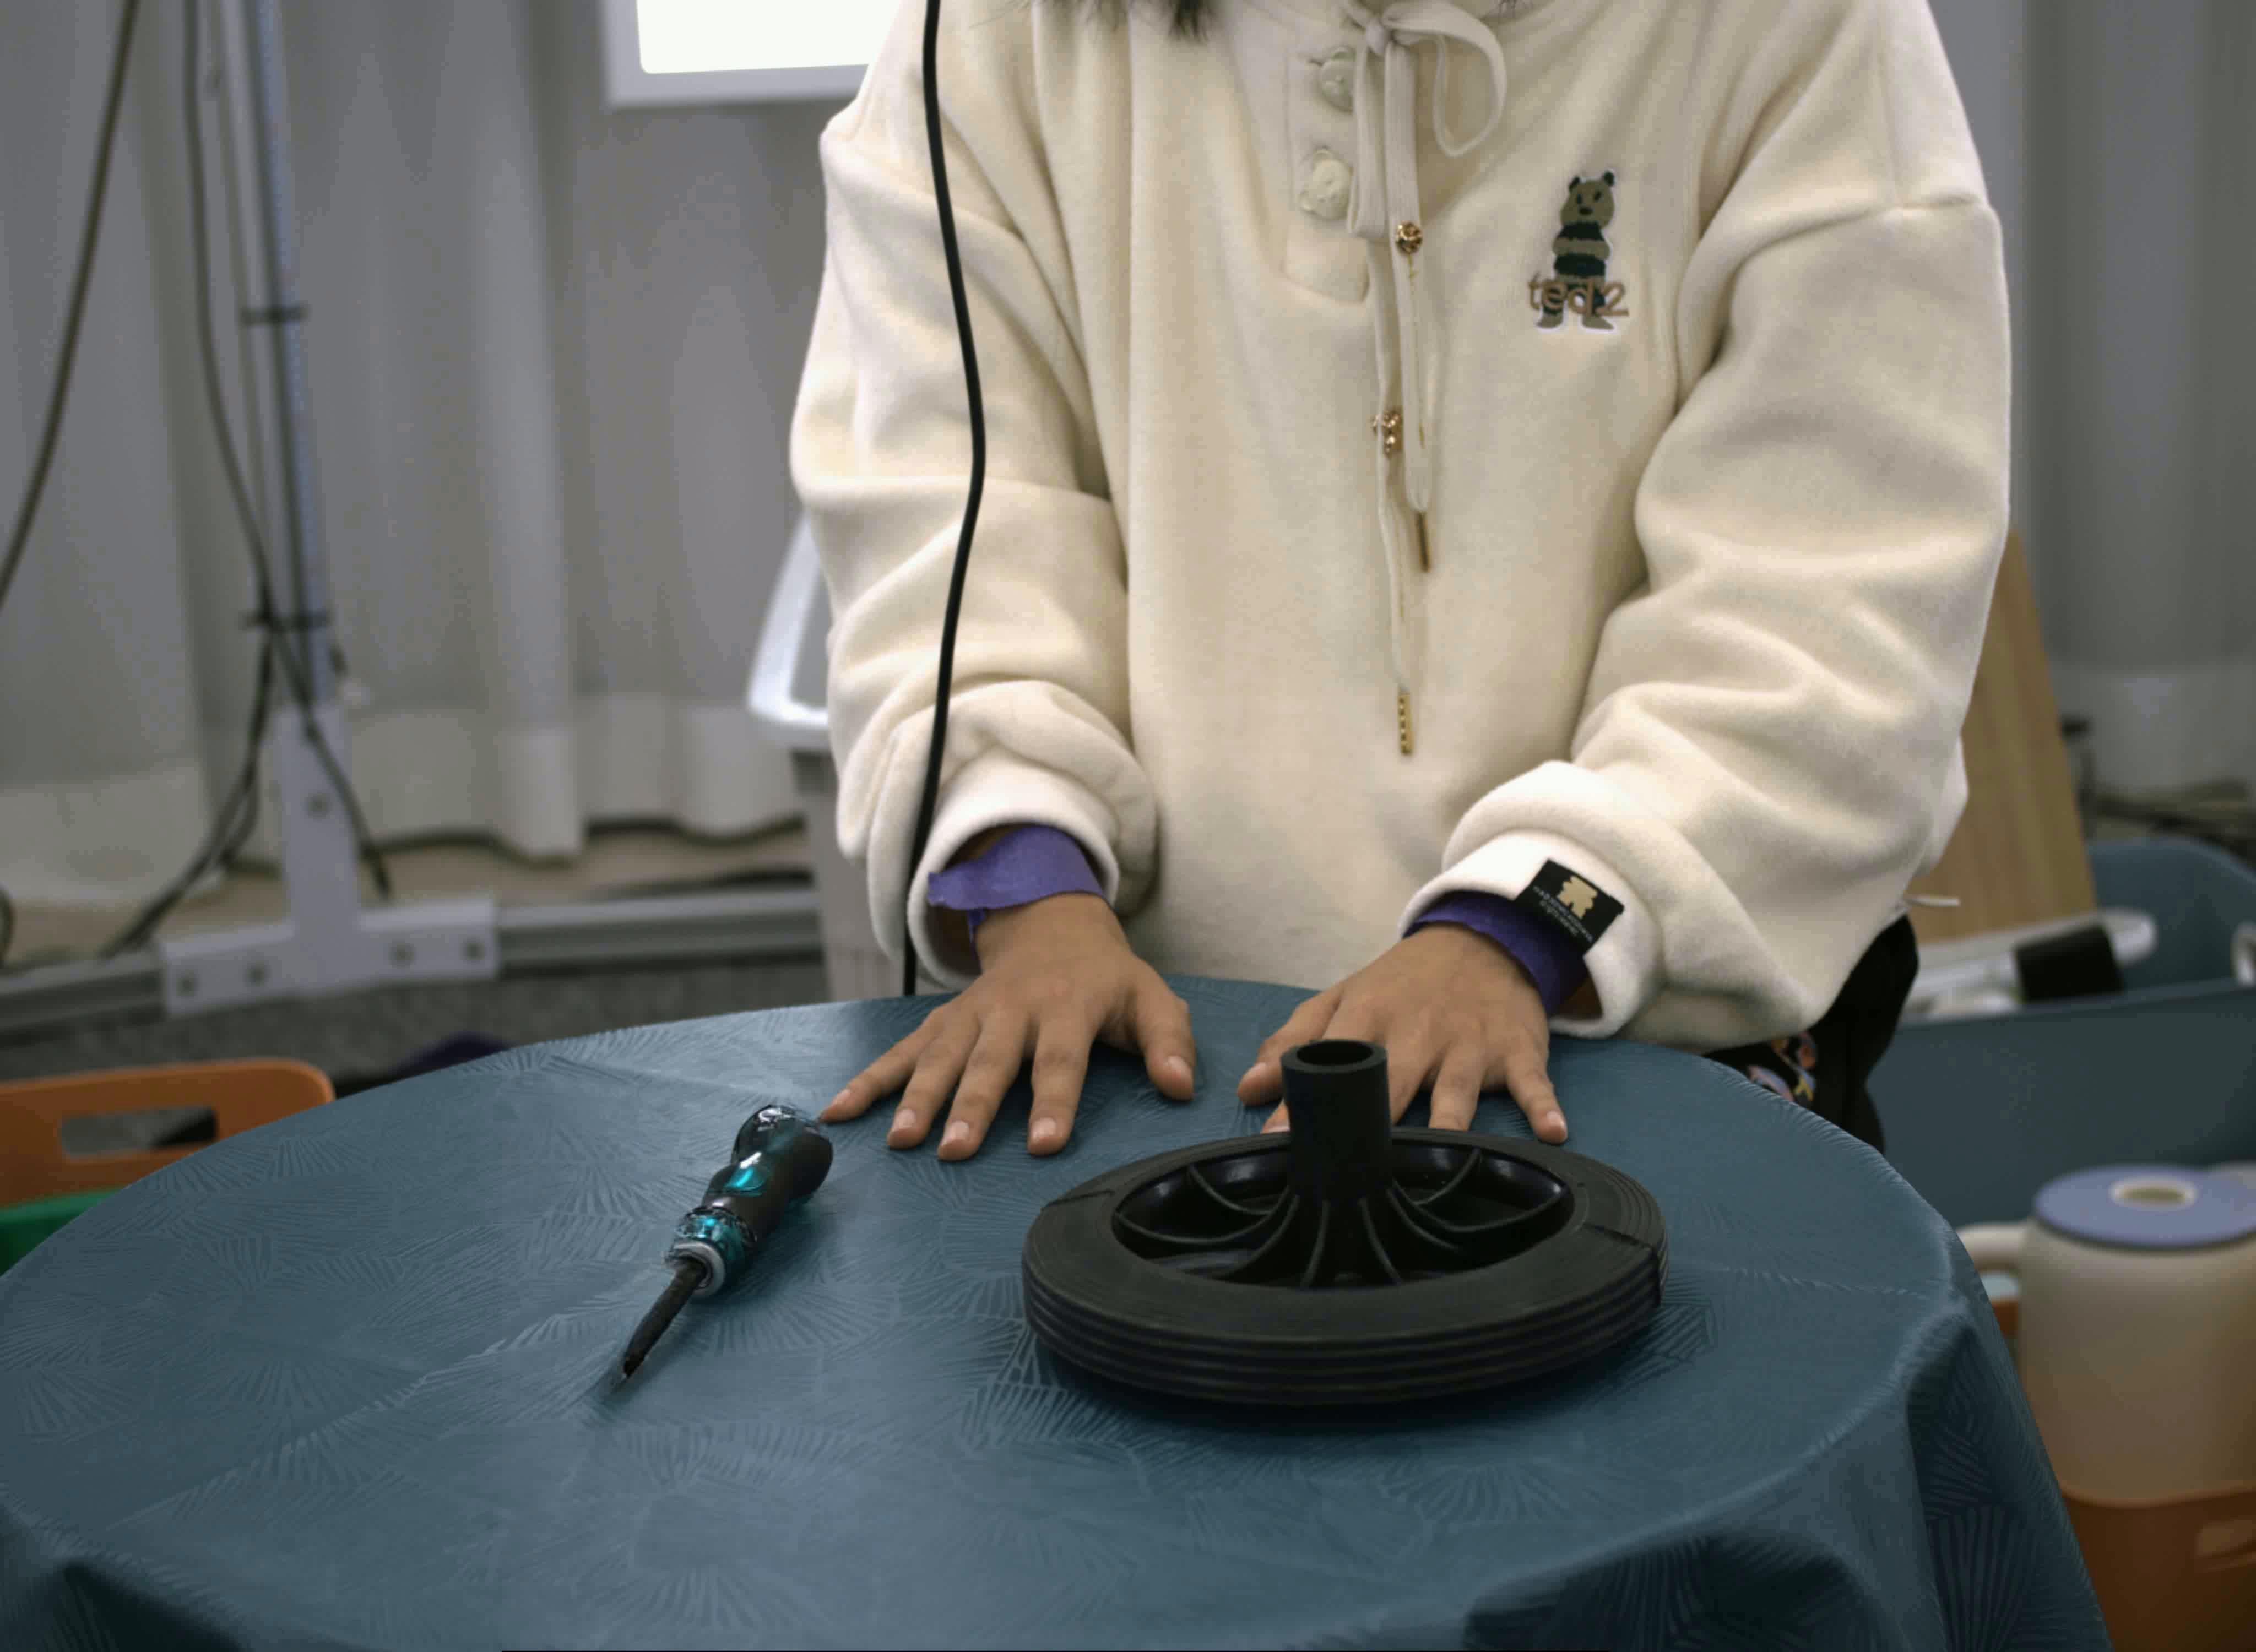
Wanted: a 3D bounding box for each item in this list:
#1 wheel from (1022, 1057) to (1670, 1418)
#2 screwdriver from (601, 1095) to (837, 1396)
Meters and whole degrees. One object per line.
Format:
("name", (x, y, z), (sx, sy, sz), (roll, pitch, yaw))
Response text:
("wheel", (0.061, 0.109, 1.578), (0.189, 0.079, 0.189), (-12, 17, -32))
("screwdriver", (-0.126, 0.129, 1.647), (0.033, 0.033, 0.191), (1, 21, 14))
